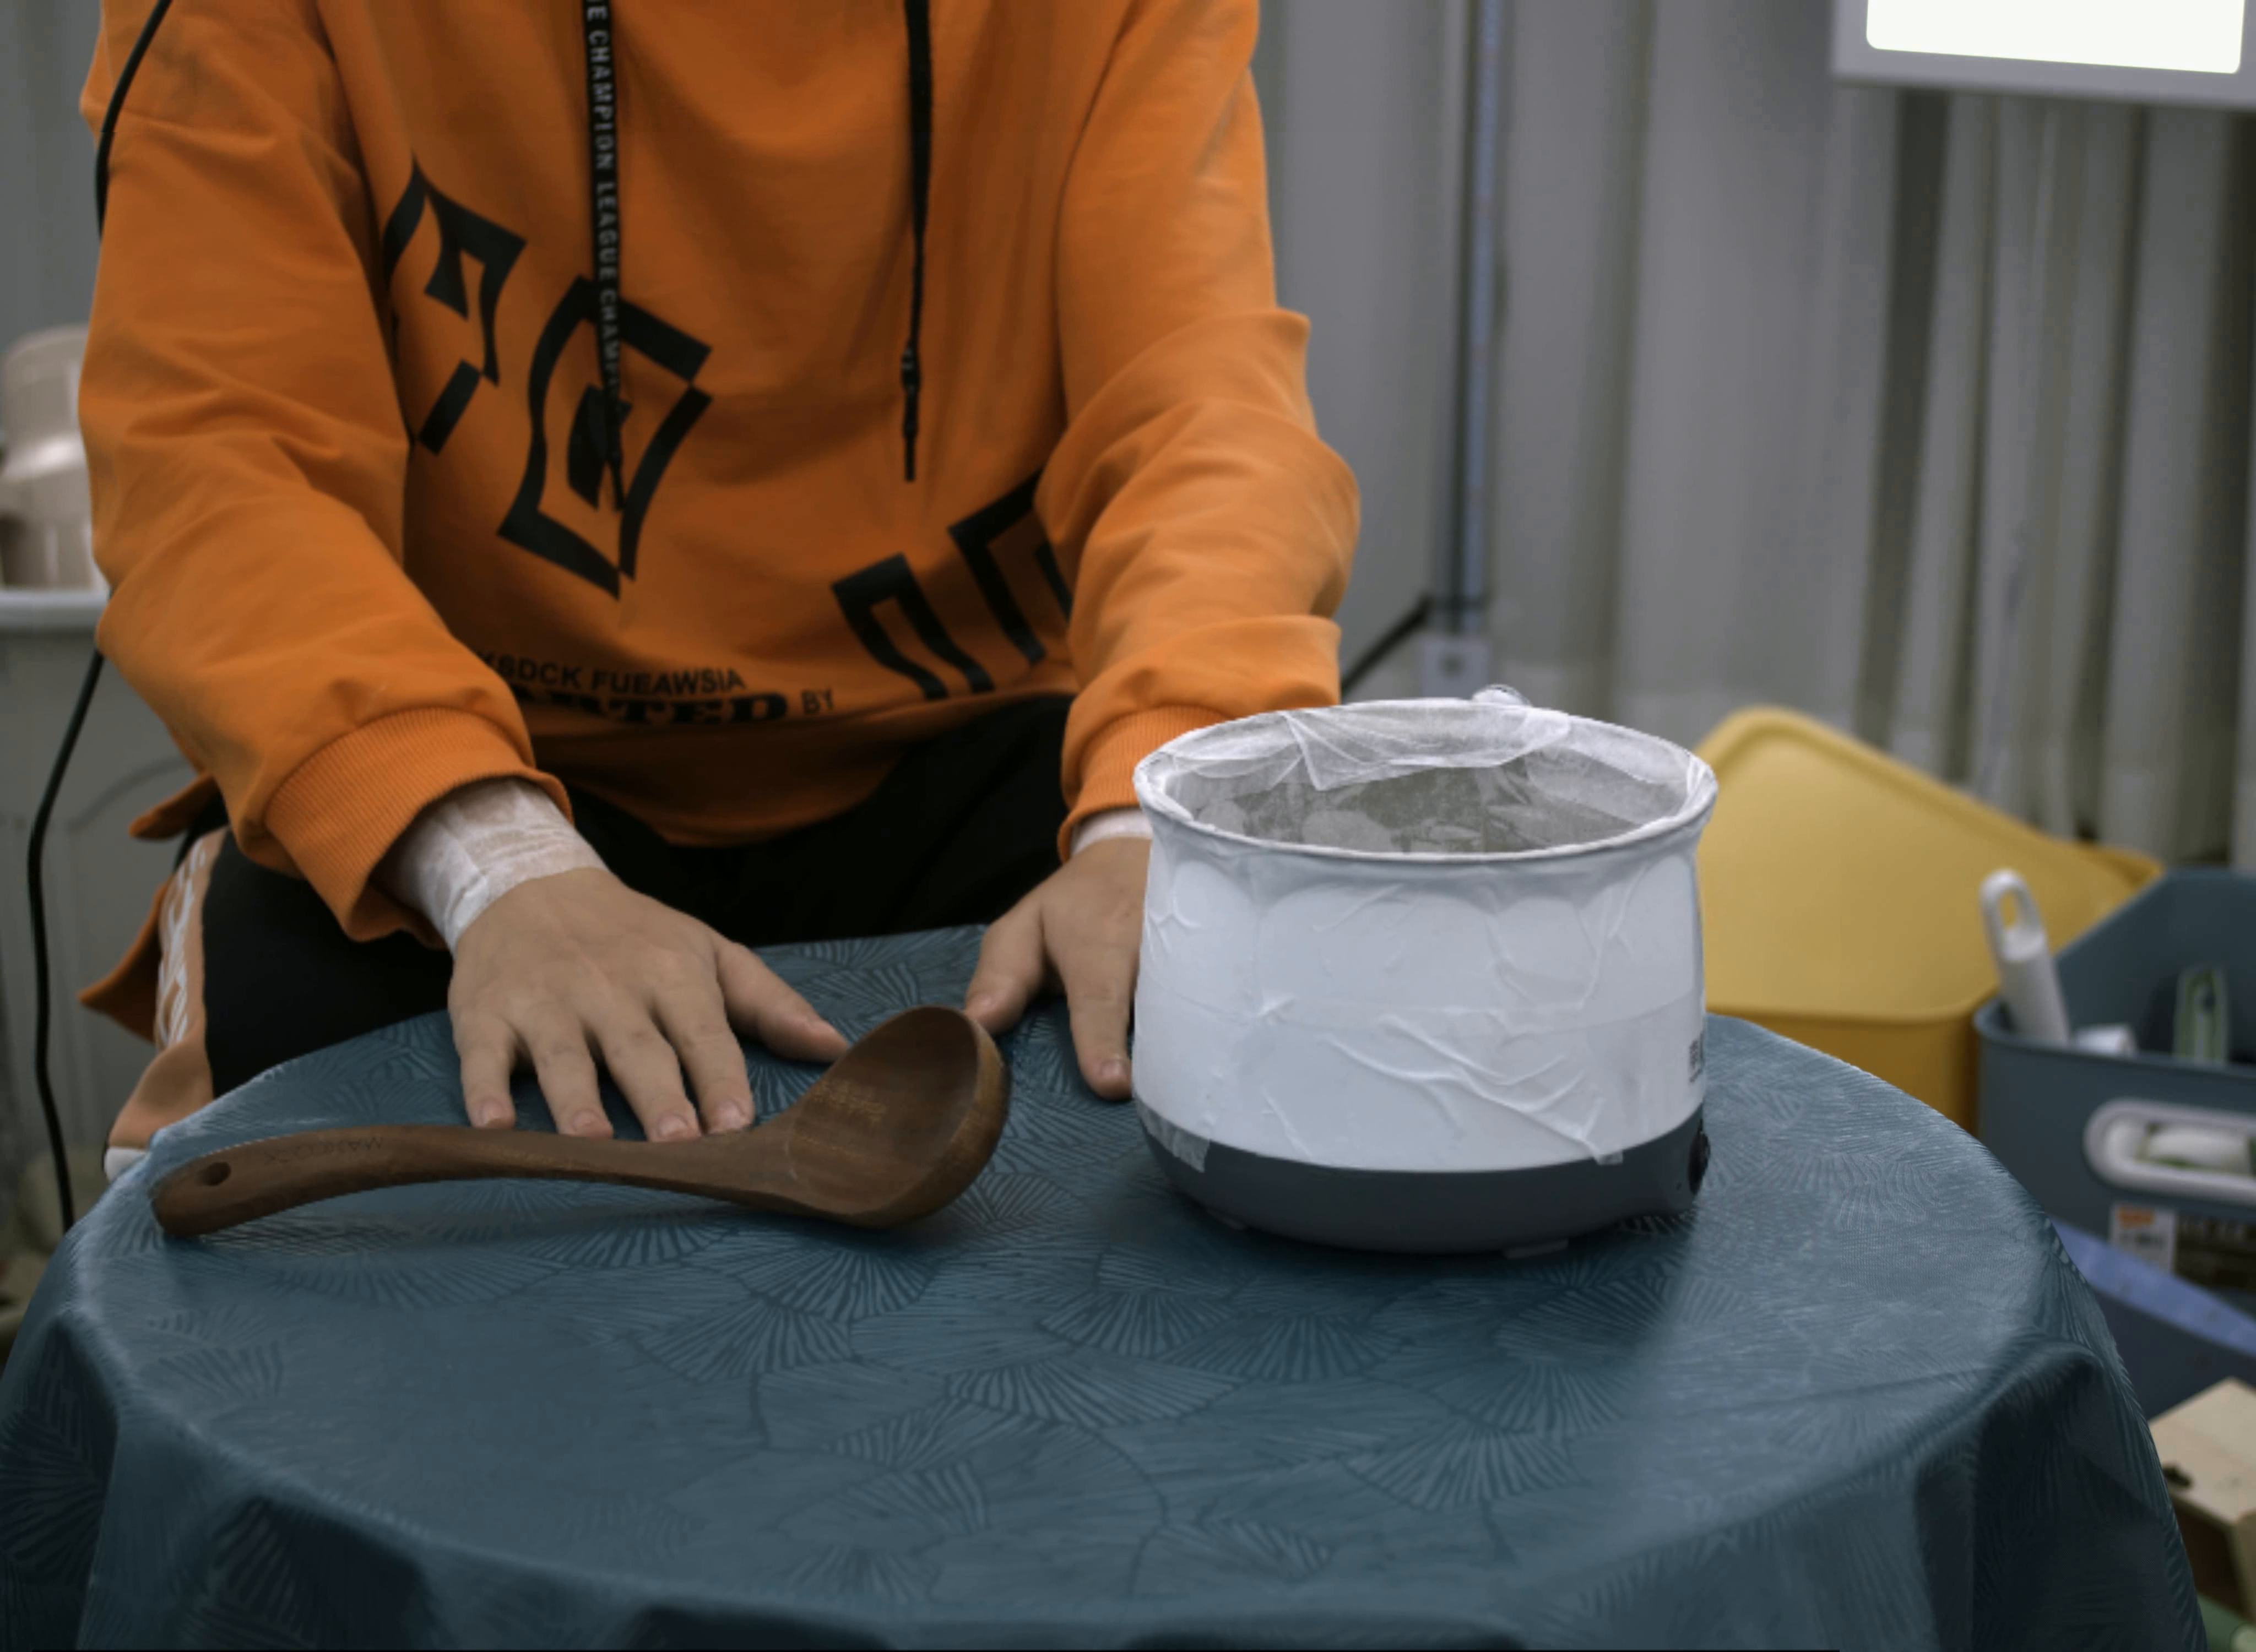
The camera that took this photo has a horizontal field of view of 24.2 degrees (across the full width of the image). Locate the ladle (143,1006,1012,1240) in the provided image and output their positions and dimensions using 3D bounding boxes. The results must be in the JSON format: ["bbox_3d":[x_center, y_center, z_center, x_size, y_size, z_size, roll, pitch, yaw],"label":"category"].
[{"bbox_3d":[-0.165,0.092,1.577,0.260,0.066,0.076,-1,38,-7],"label":"ladle"}]

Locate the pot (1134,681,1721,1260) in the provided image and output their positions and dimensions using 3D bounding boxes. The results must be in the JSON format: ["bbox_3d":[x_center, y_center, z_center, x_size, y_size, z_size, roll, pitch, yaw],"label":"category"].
[{"bbox_3d":[0.097,0.038,1.633,0.177,0.138,0.233,5,17,14],"label":"pot"}]
